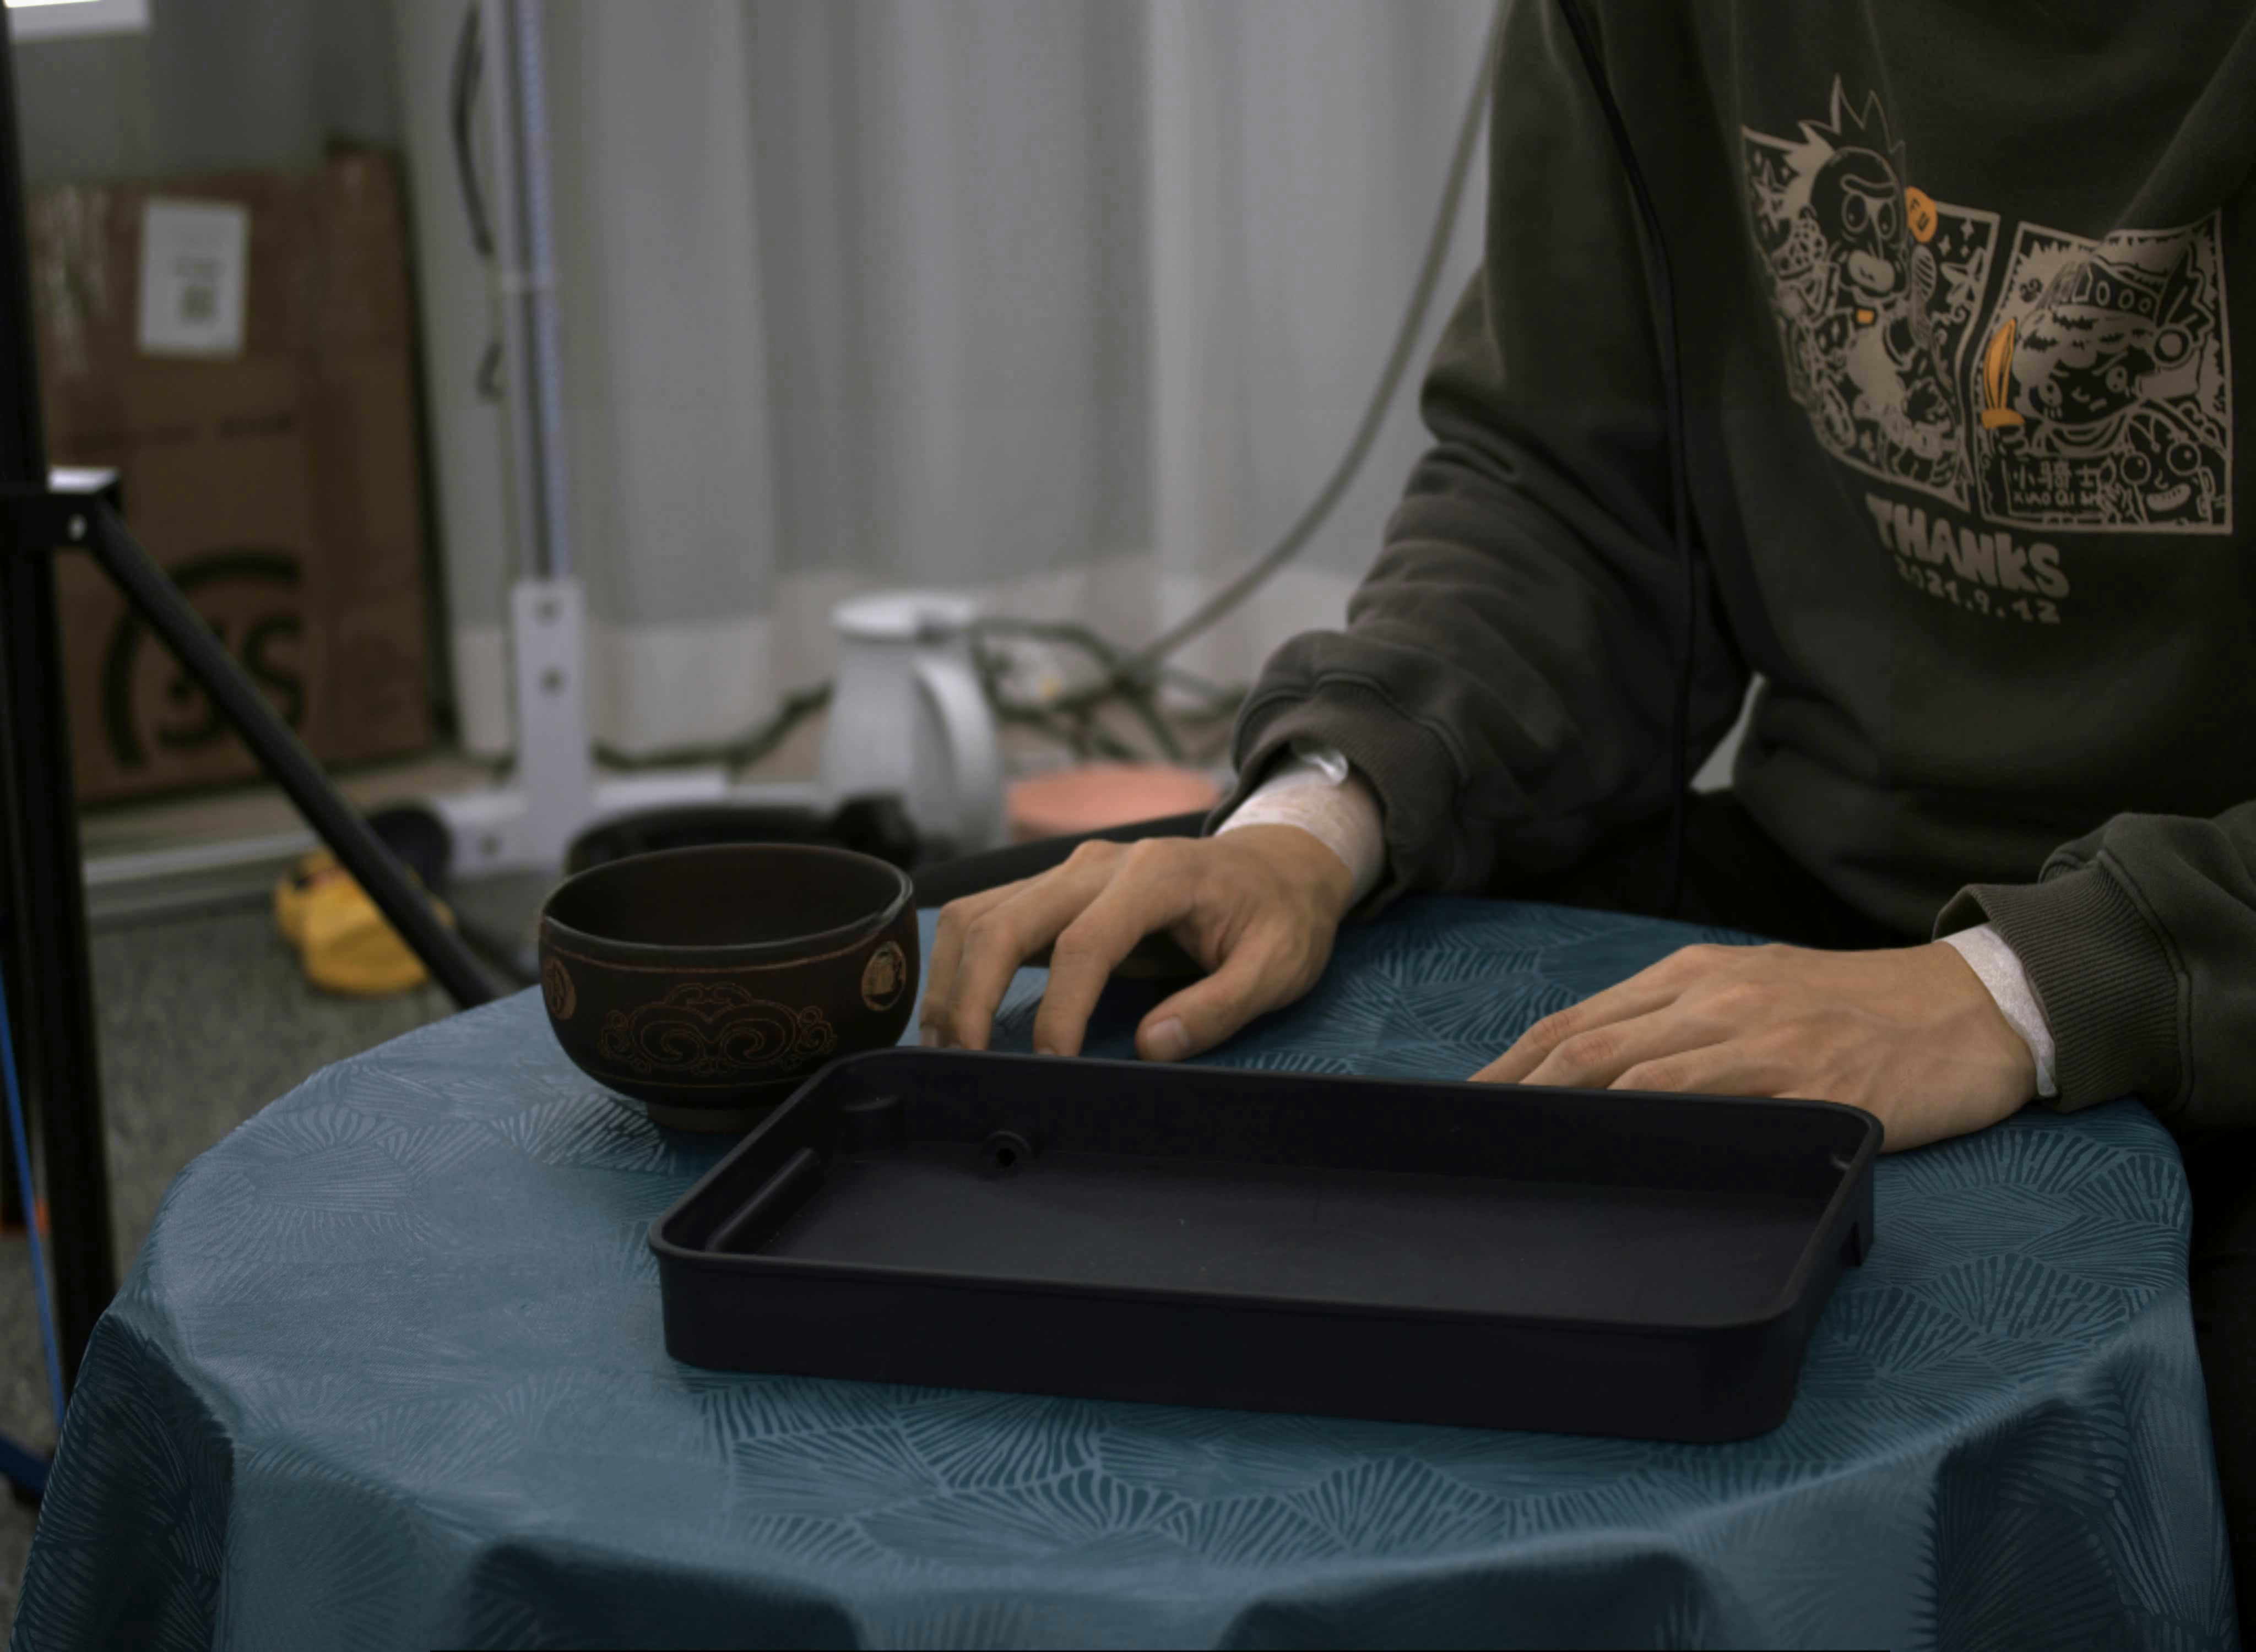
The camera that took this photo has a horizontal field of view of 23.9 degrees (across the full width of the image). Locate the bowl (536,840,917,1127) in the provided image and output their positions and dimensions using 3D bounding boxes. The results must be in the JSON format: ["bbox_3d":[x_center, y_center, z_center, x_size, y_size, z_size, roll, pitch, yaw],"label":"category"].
[{"bbox_3d":[-0.123,0.052,1.650,0.117,0.070,0.118,-2,14,-1],"label":"bowl"}]

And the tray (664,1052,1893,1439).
[{"bbox_3d":[0.045,0.113,1.471,0.321,0.037,0.182,2,16,17],"label":"tray"}]
